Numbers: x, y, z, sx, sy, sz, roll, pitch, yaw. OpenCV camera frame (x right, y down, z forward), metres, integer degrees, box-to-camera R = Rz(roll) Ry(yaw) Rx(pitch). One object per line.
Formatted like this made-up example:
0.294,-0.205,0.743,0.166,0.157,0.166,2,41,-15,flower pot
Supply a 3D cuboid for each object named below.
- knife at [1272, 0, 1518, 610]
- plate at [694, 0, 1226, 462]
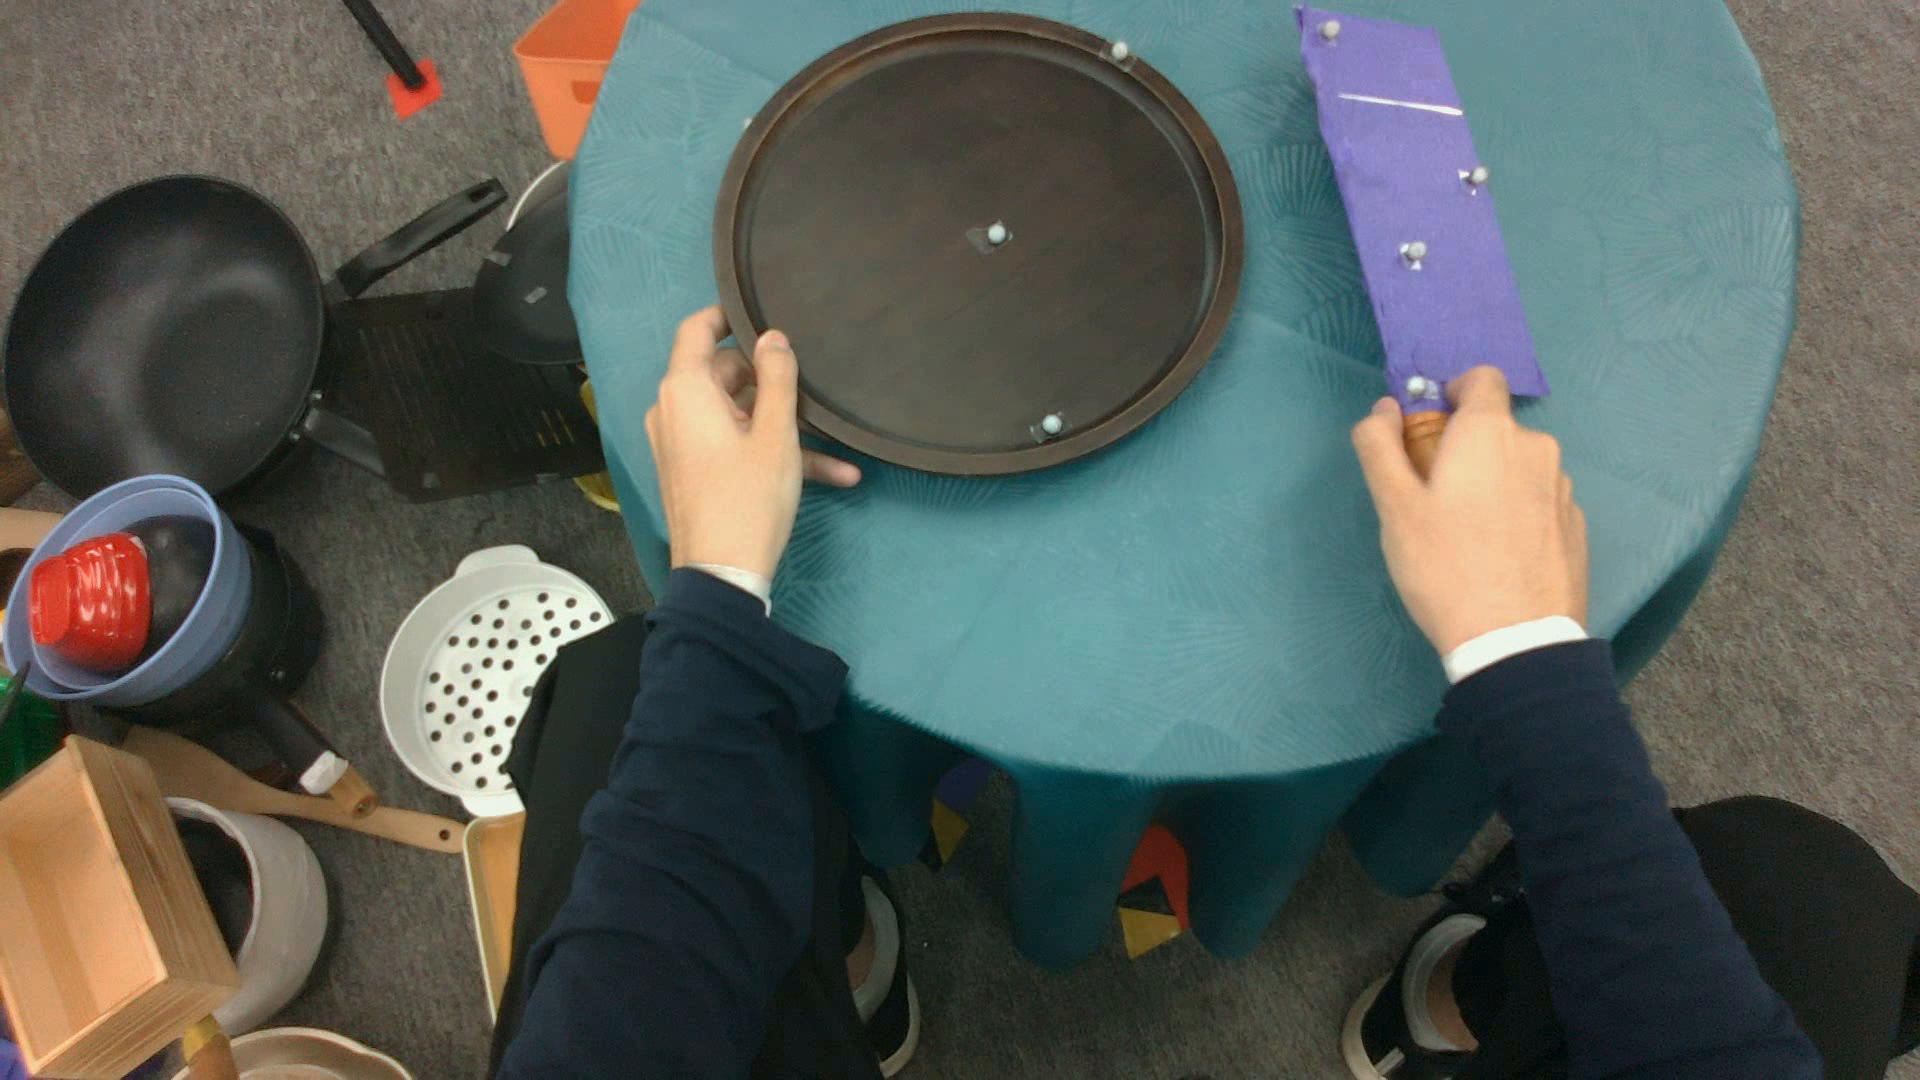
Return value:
0.212,-0.123,0.627,0.104,0.032,0.316,1,71,-29,knife
0.000,-0.154,0.662,0.255,0.029,0.255,0,70,-1,plate
